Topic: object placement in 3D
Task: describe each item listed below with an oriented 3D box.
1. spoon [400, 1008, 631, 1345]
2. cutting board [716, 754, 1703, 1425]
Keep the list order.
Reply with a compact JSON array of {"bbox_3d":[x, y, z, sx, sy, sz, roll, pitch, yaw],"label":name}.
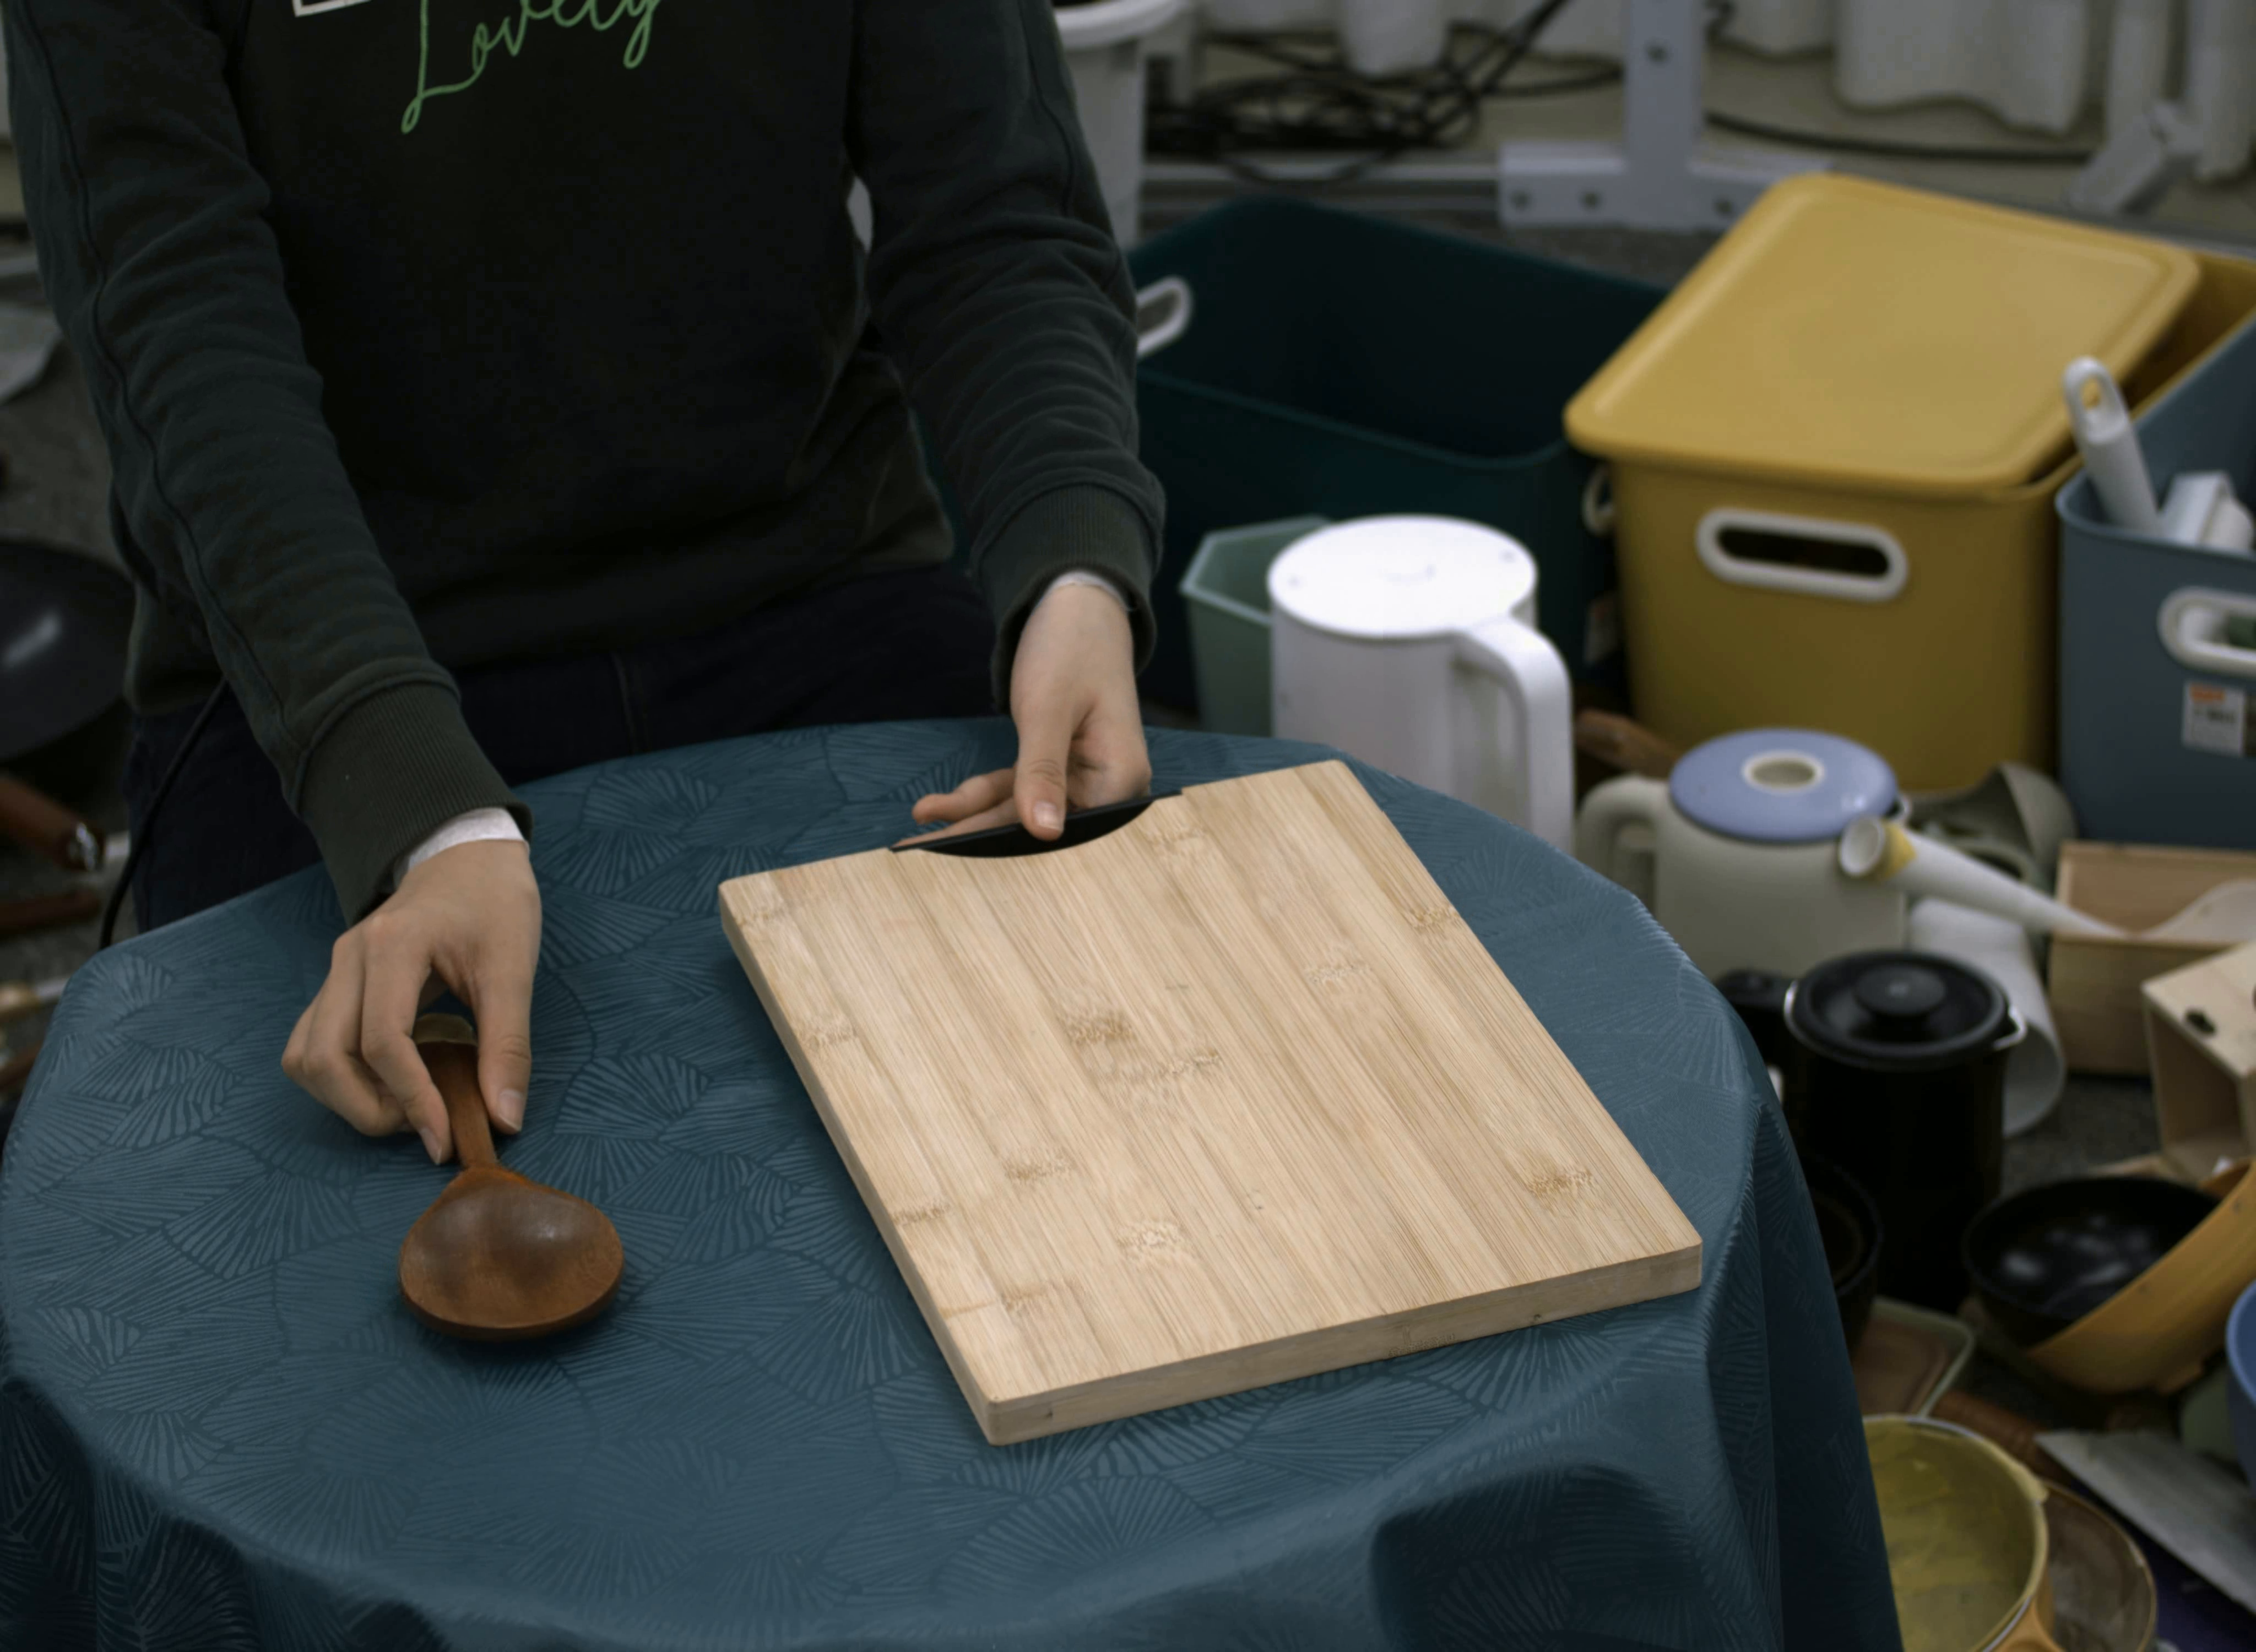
[{"bbox_3d":[-0.214,0.117,1.872,0.075,0.017,0.218,-10,29,-11],"label":"spoon"},{"bbox_3d":[0.018,0.082,1.906,0.251,0.023,0.352,-11,30,-16],"label":"cutting board"}]
